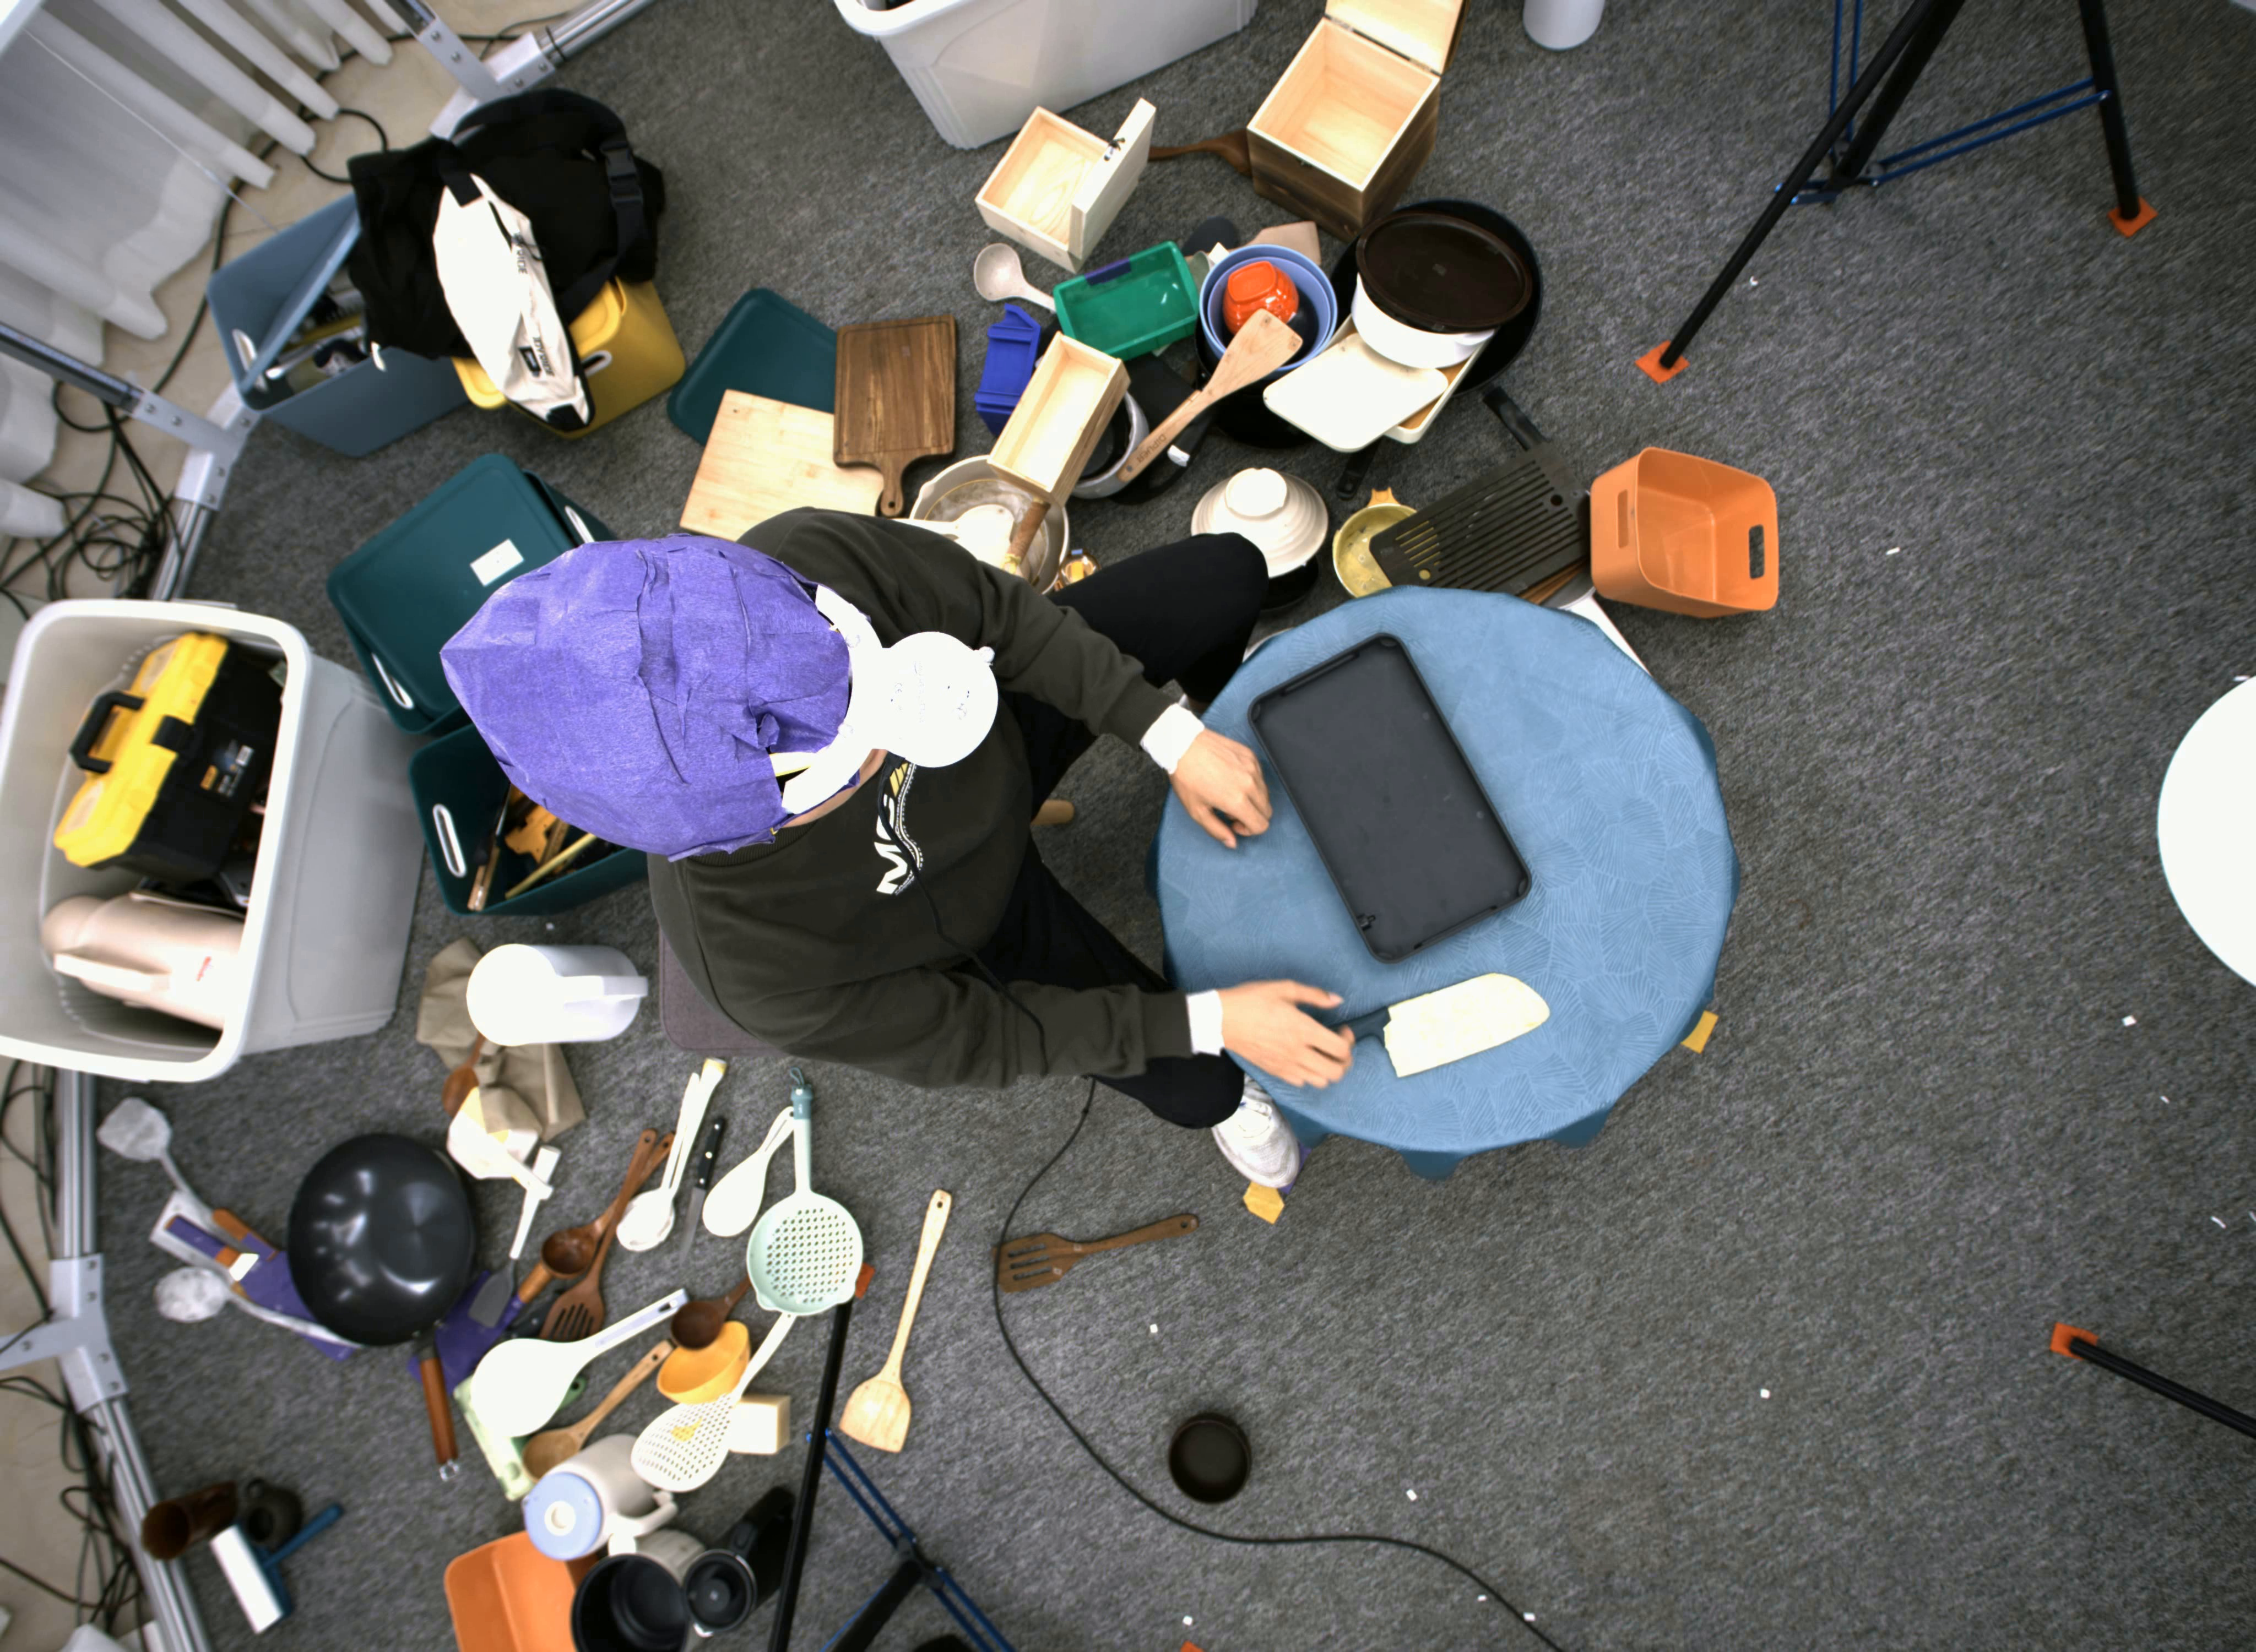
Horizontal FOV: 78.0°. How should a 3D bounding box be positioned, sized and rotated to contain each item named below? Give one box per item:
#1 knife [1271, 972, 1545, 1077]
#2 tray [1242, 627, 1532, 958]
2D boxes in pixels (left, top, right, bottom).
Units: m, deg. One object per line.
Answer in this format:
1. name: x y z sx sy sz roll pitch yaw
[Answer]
1. knife: 0.292 0.216 1.440 0.291 0.027 0.080 -17 82 8
2. tray: 0.270 -0.037 1.448 0.185 0.037 0.316 -30 82 8
